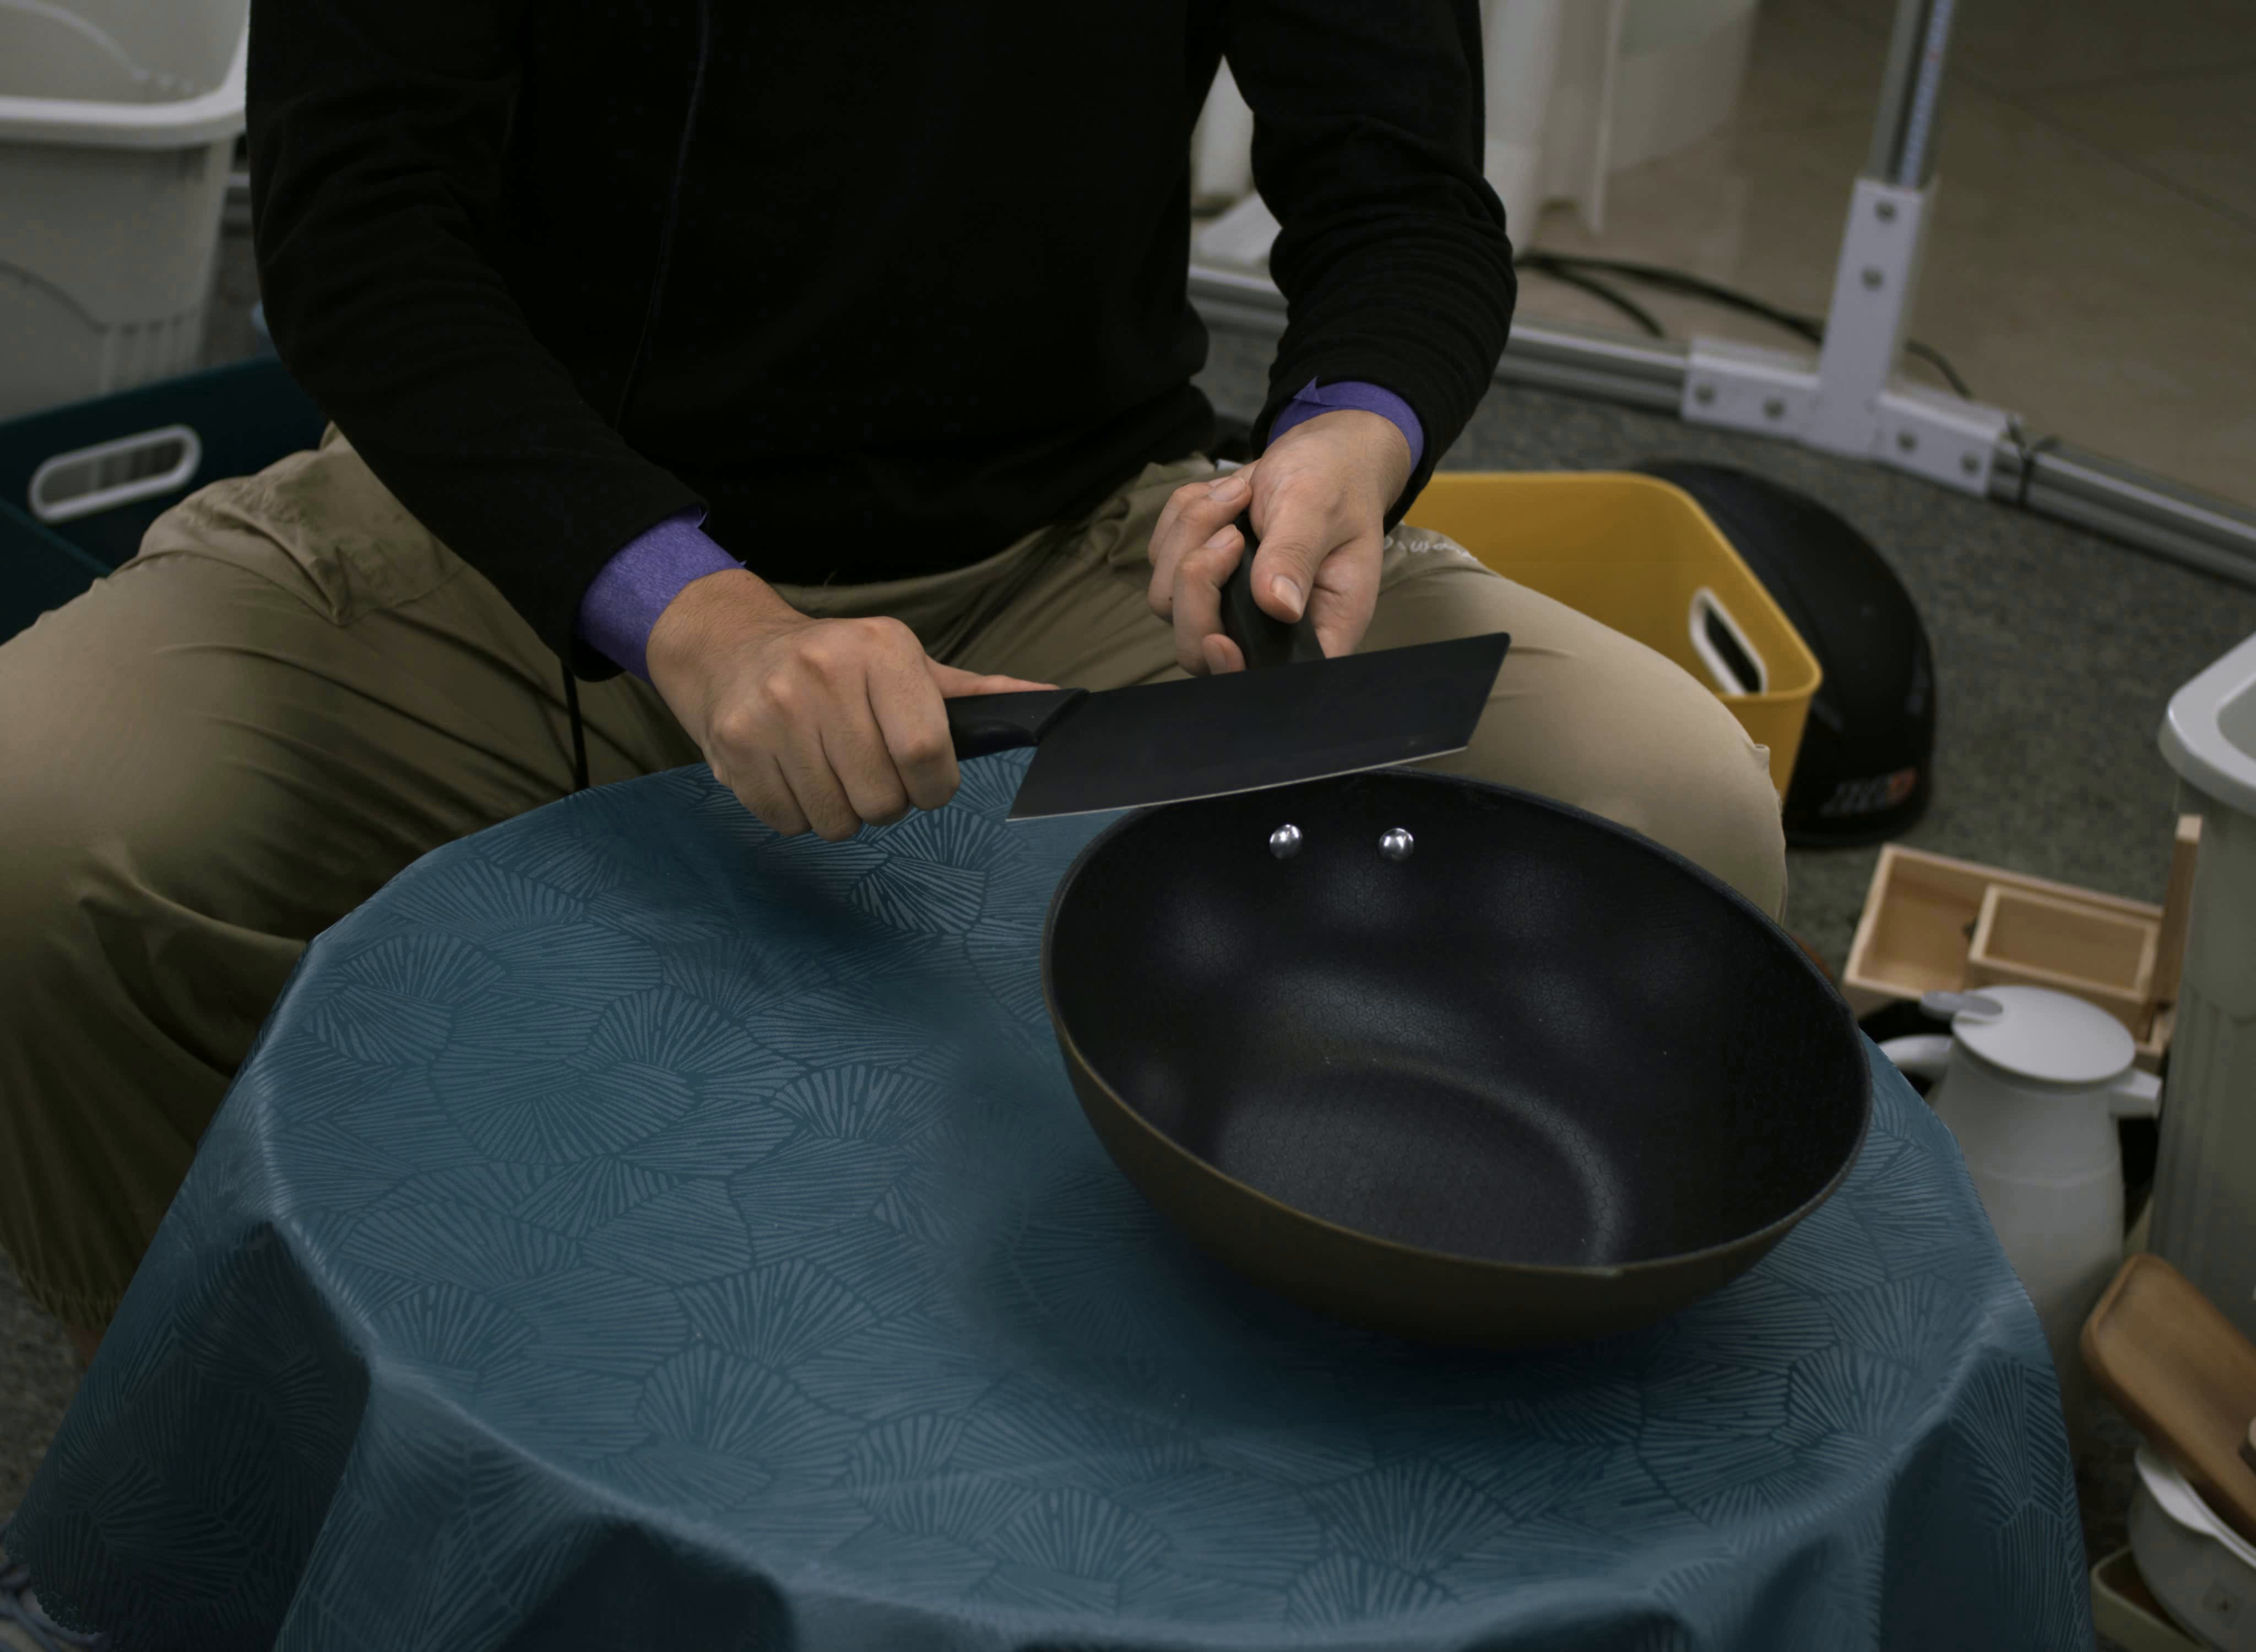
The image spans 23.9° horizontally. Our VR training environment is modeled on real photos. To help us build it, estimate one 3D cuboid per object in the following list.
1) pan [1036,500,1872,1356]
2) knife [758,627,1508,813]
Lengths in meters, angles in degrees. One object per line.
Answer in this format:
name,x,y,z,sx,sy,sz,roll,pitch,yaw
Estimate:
pan,0.080,0.039,1.854,0.286,0.086,0.467,1,35,-17
knife,-0.005,-0.031,1.866,0.303,0.020,0.081,-5,40,35
